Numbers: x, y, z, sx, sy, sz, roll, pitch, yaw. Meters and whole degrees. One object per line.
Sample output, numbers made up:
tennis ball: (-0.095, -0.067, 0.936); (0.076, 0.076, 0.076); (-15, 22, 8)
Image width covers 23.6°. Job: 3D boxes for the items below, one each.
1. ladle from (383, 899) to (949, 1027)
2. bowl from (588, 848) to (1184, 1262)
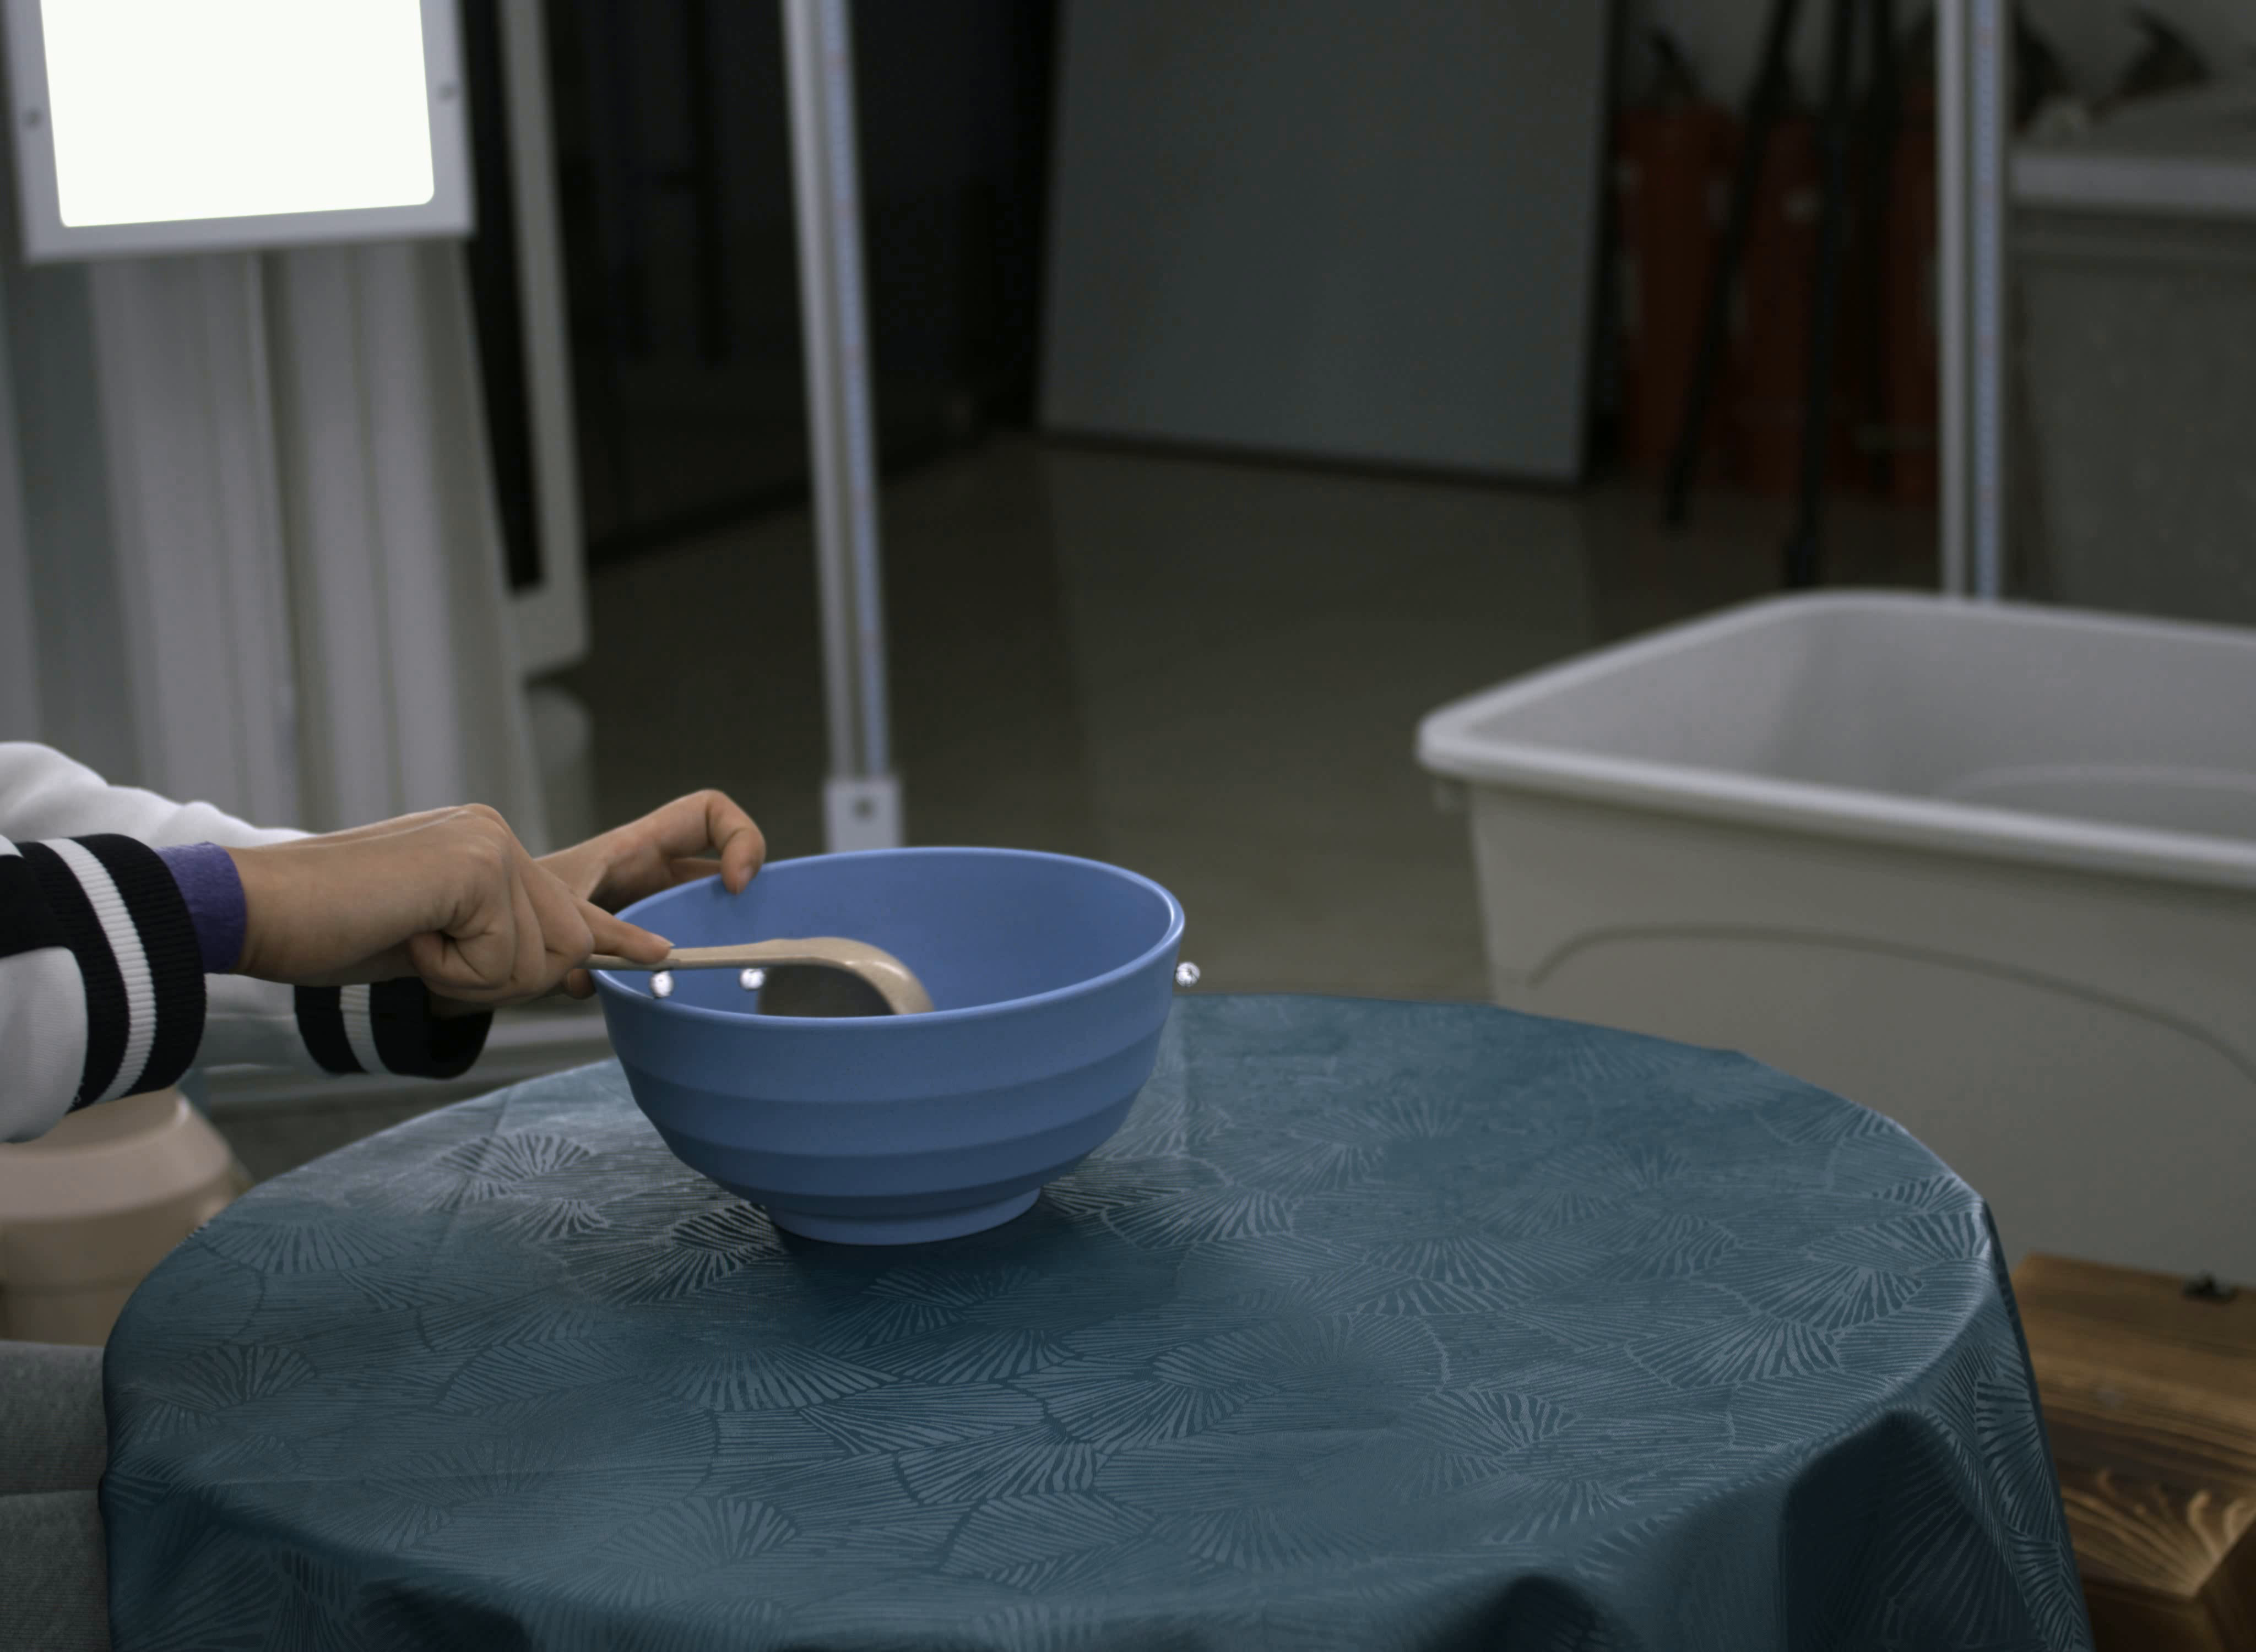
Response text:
ladle: (-0.151, 0.067, 1.705); (0.073, 0.073, 0.249); (20, 8, 38)
bowl: (-0.076, 0.081, 1.764); (0.194, 0.096, 0.197); (-4, 16, 0)
